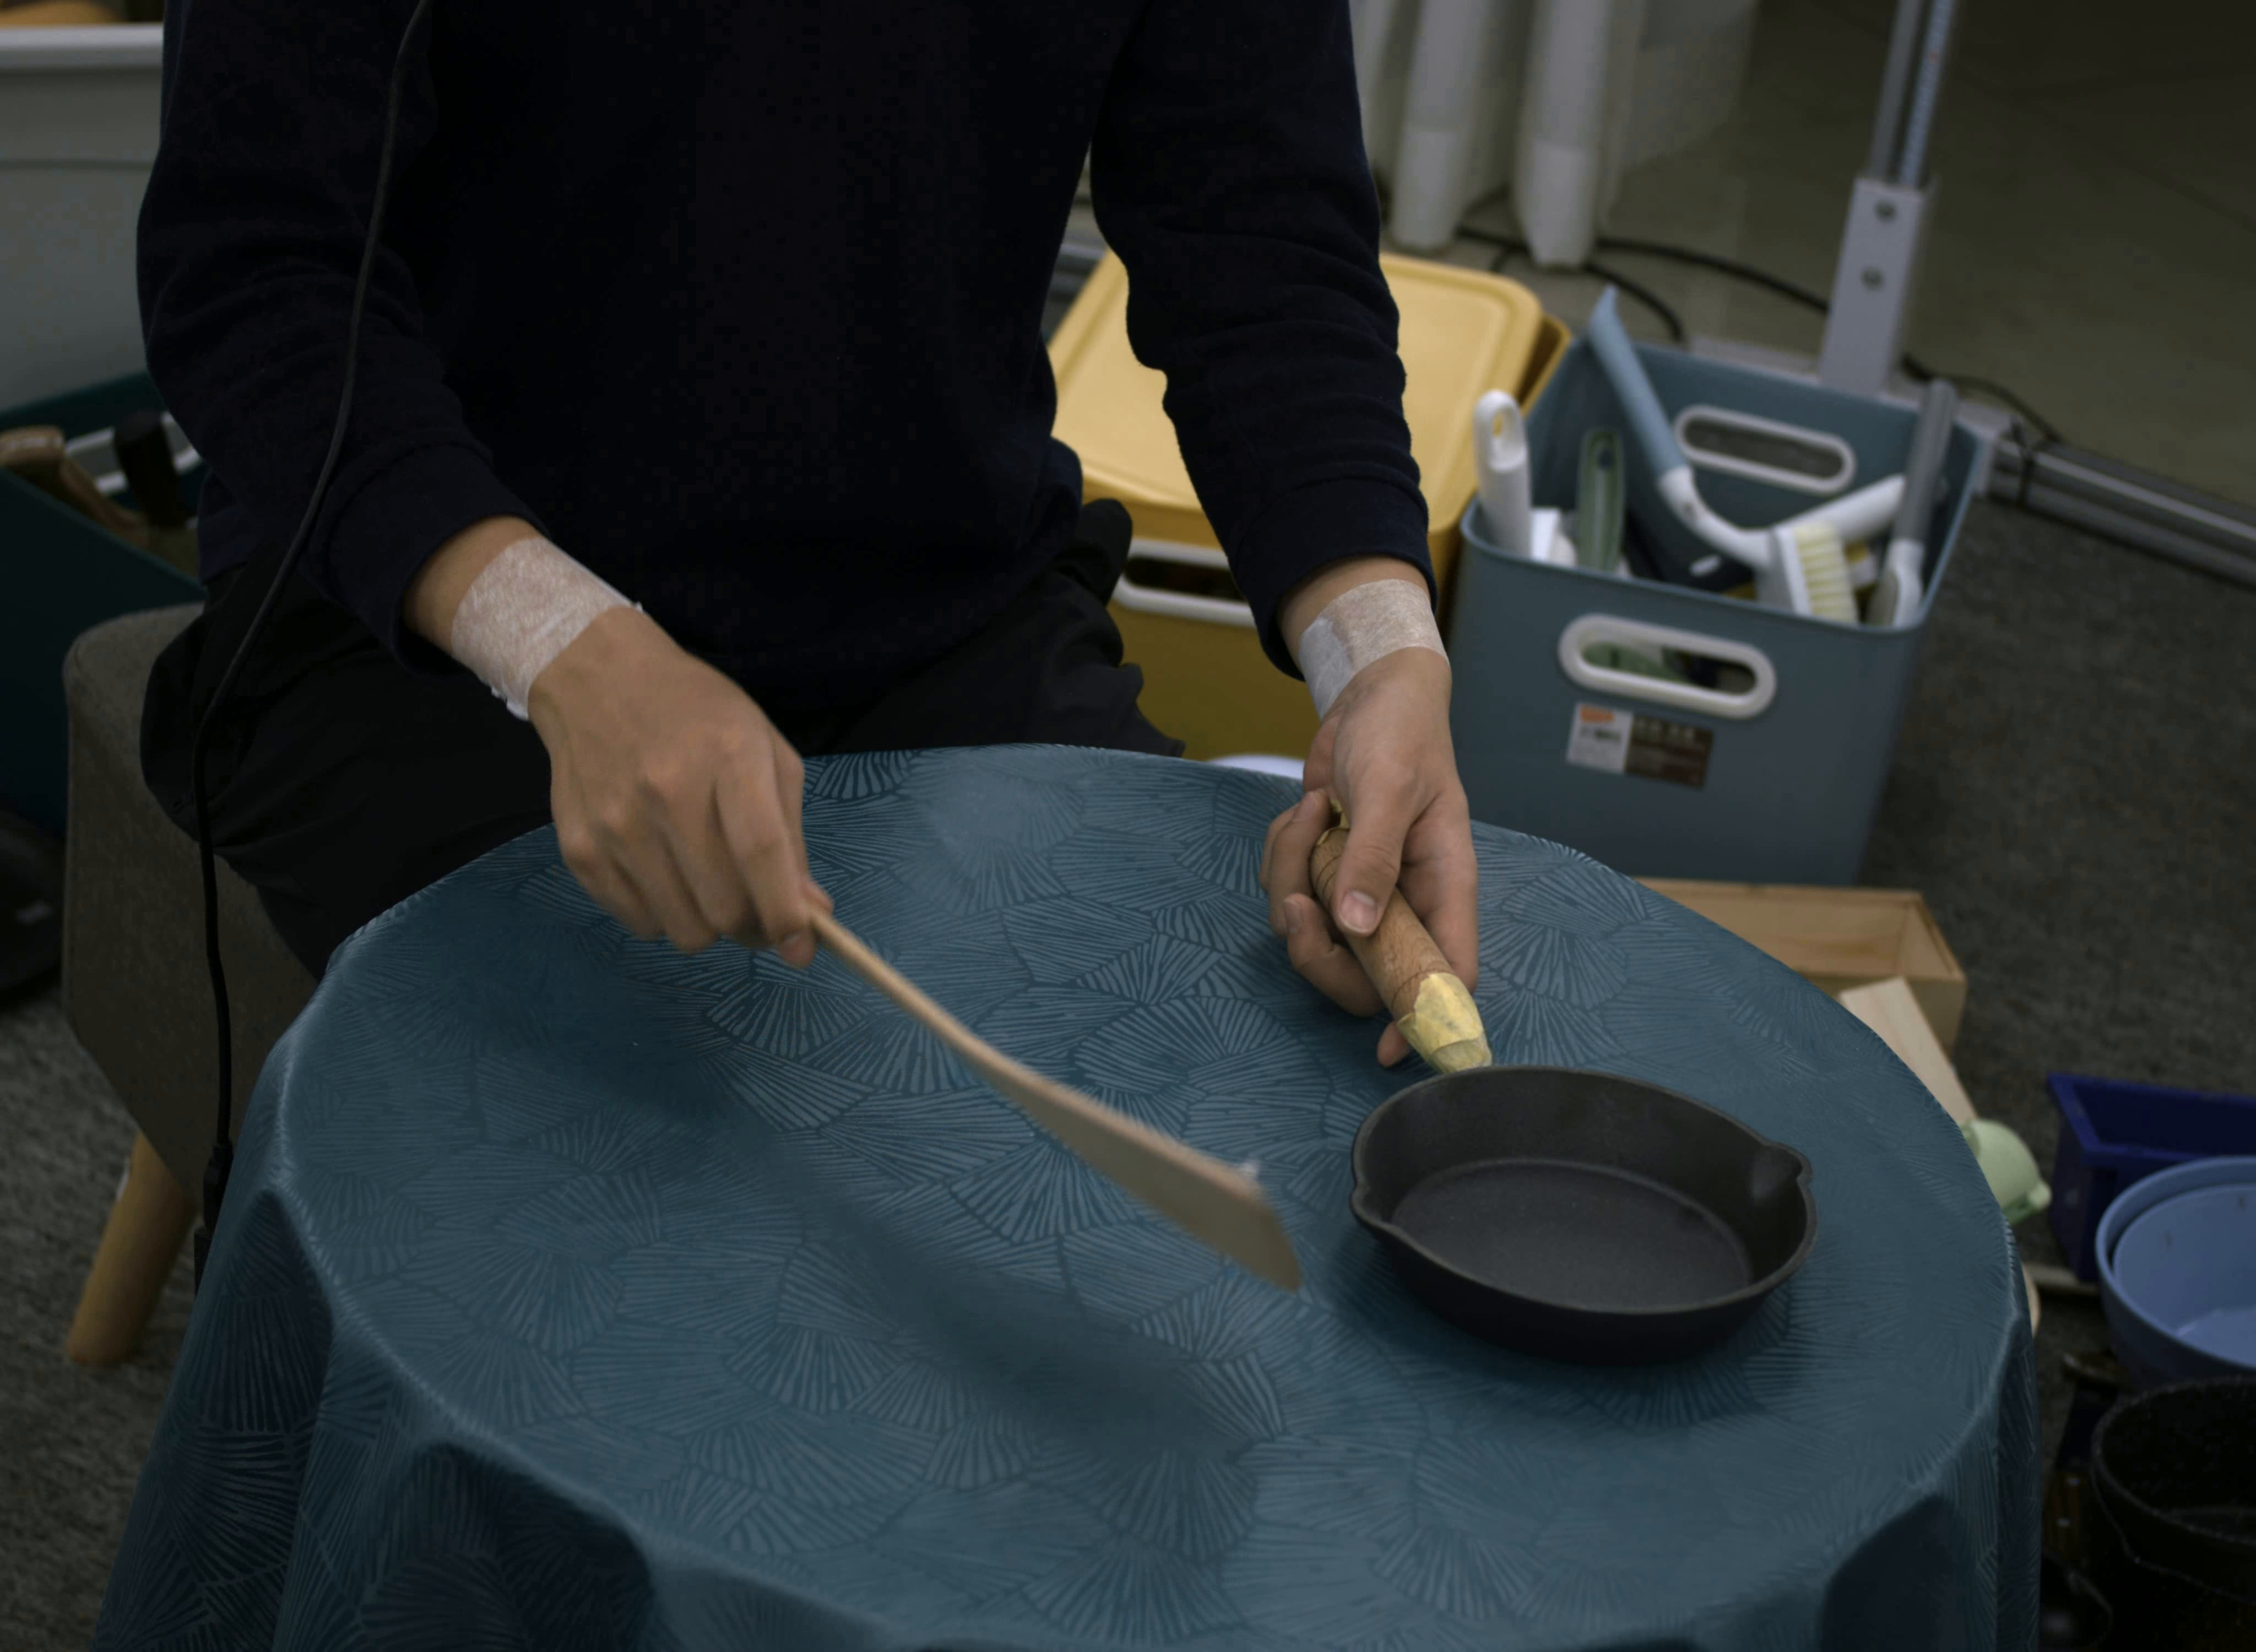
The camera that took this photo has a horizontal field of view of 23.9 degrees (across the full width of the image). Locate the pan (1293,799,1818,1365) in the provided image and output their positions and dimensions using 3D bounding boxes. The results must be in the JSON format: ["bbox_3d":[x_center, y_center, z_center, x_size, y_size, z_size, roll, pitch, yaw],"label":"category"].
[{"bbox_3d":[0.124,0.086,1.848,0.168,0.049,0.327,-4,30,-19],"label":"pan"}]

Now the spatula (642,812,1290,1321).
[{"bbox_3d":[-0.059,0.071,1.748,0.016,0.079,0.330,-45,49,-12],"label":"spatula"}]
